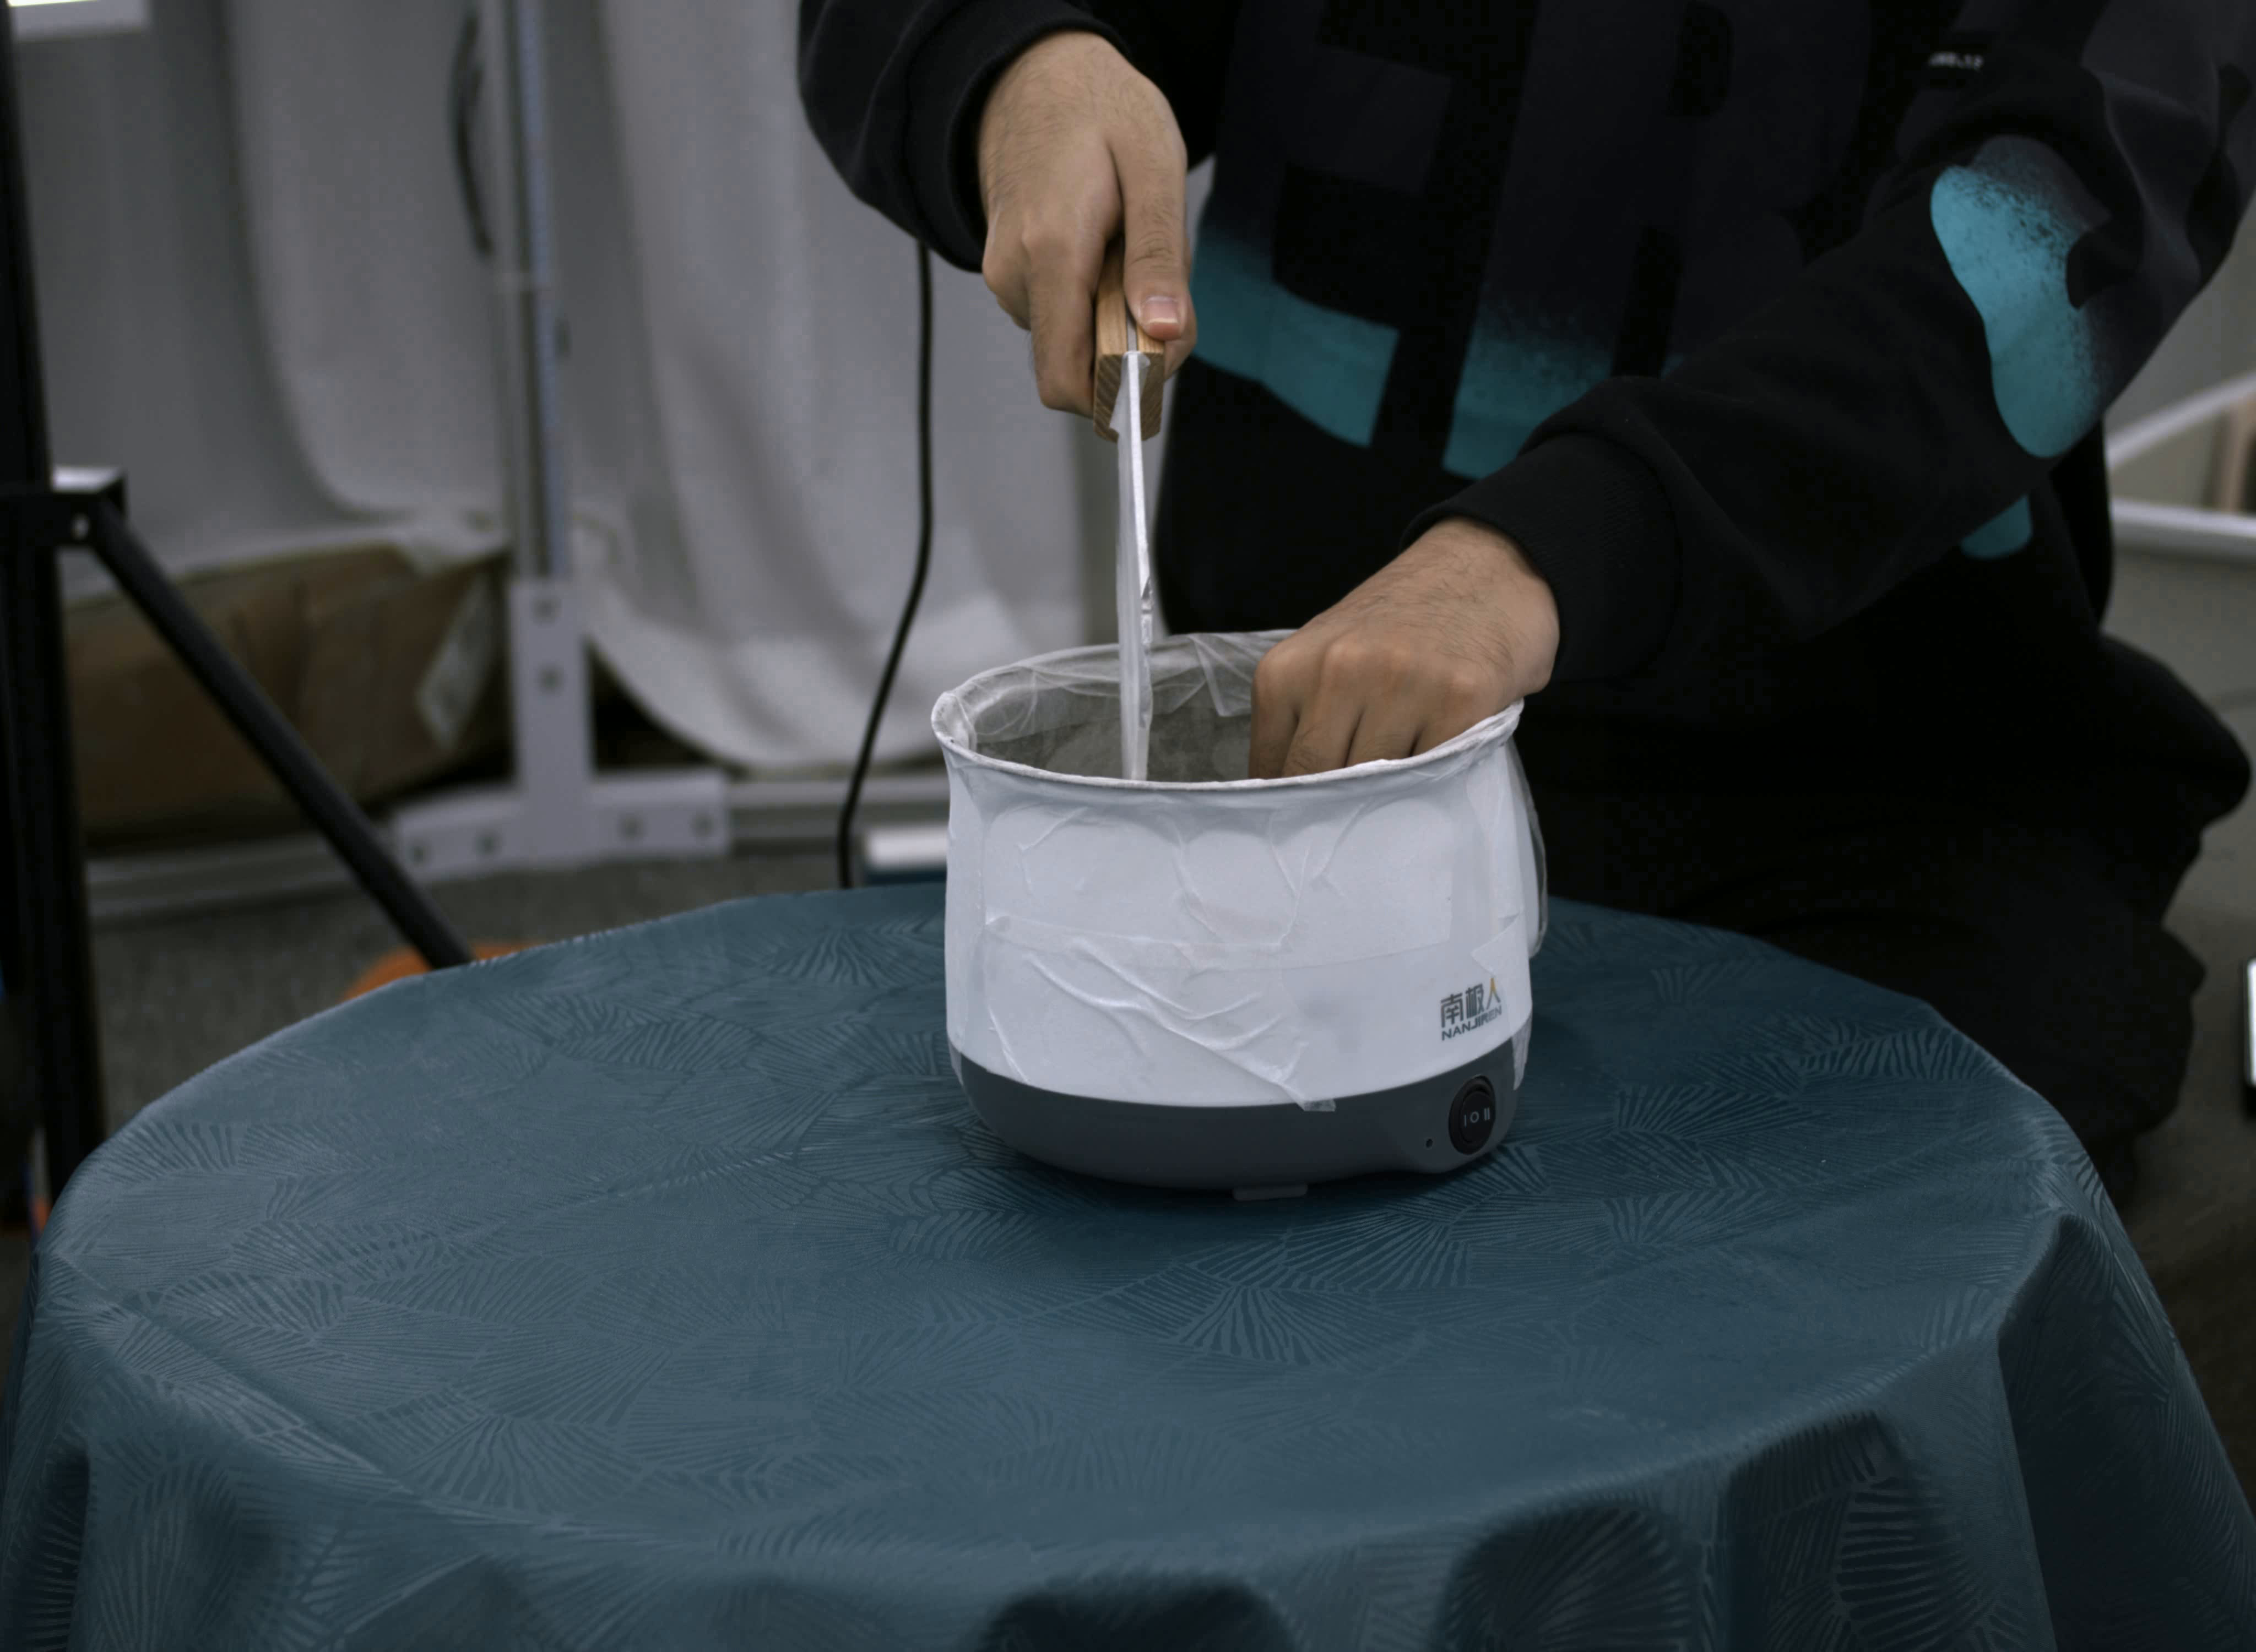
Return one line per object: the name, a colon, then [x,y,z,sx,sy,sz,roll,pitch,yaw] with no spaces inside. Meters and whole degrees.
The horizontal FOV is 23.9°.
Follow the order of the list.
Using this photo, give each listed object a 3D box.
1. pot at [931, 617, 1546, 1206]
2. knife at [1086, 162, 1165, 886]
pot: [0.049,0.019,1.615,0.182,0.136,0.229,11,21,38]
knife: [0.000,-0.104,1.628,0.021,0.113,0.318,2,41,-3]
